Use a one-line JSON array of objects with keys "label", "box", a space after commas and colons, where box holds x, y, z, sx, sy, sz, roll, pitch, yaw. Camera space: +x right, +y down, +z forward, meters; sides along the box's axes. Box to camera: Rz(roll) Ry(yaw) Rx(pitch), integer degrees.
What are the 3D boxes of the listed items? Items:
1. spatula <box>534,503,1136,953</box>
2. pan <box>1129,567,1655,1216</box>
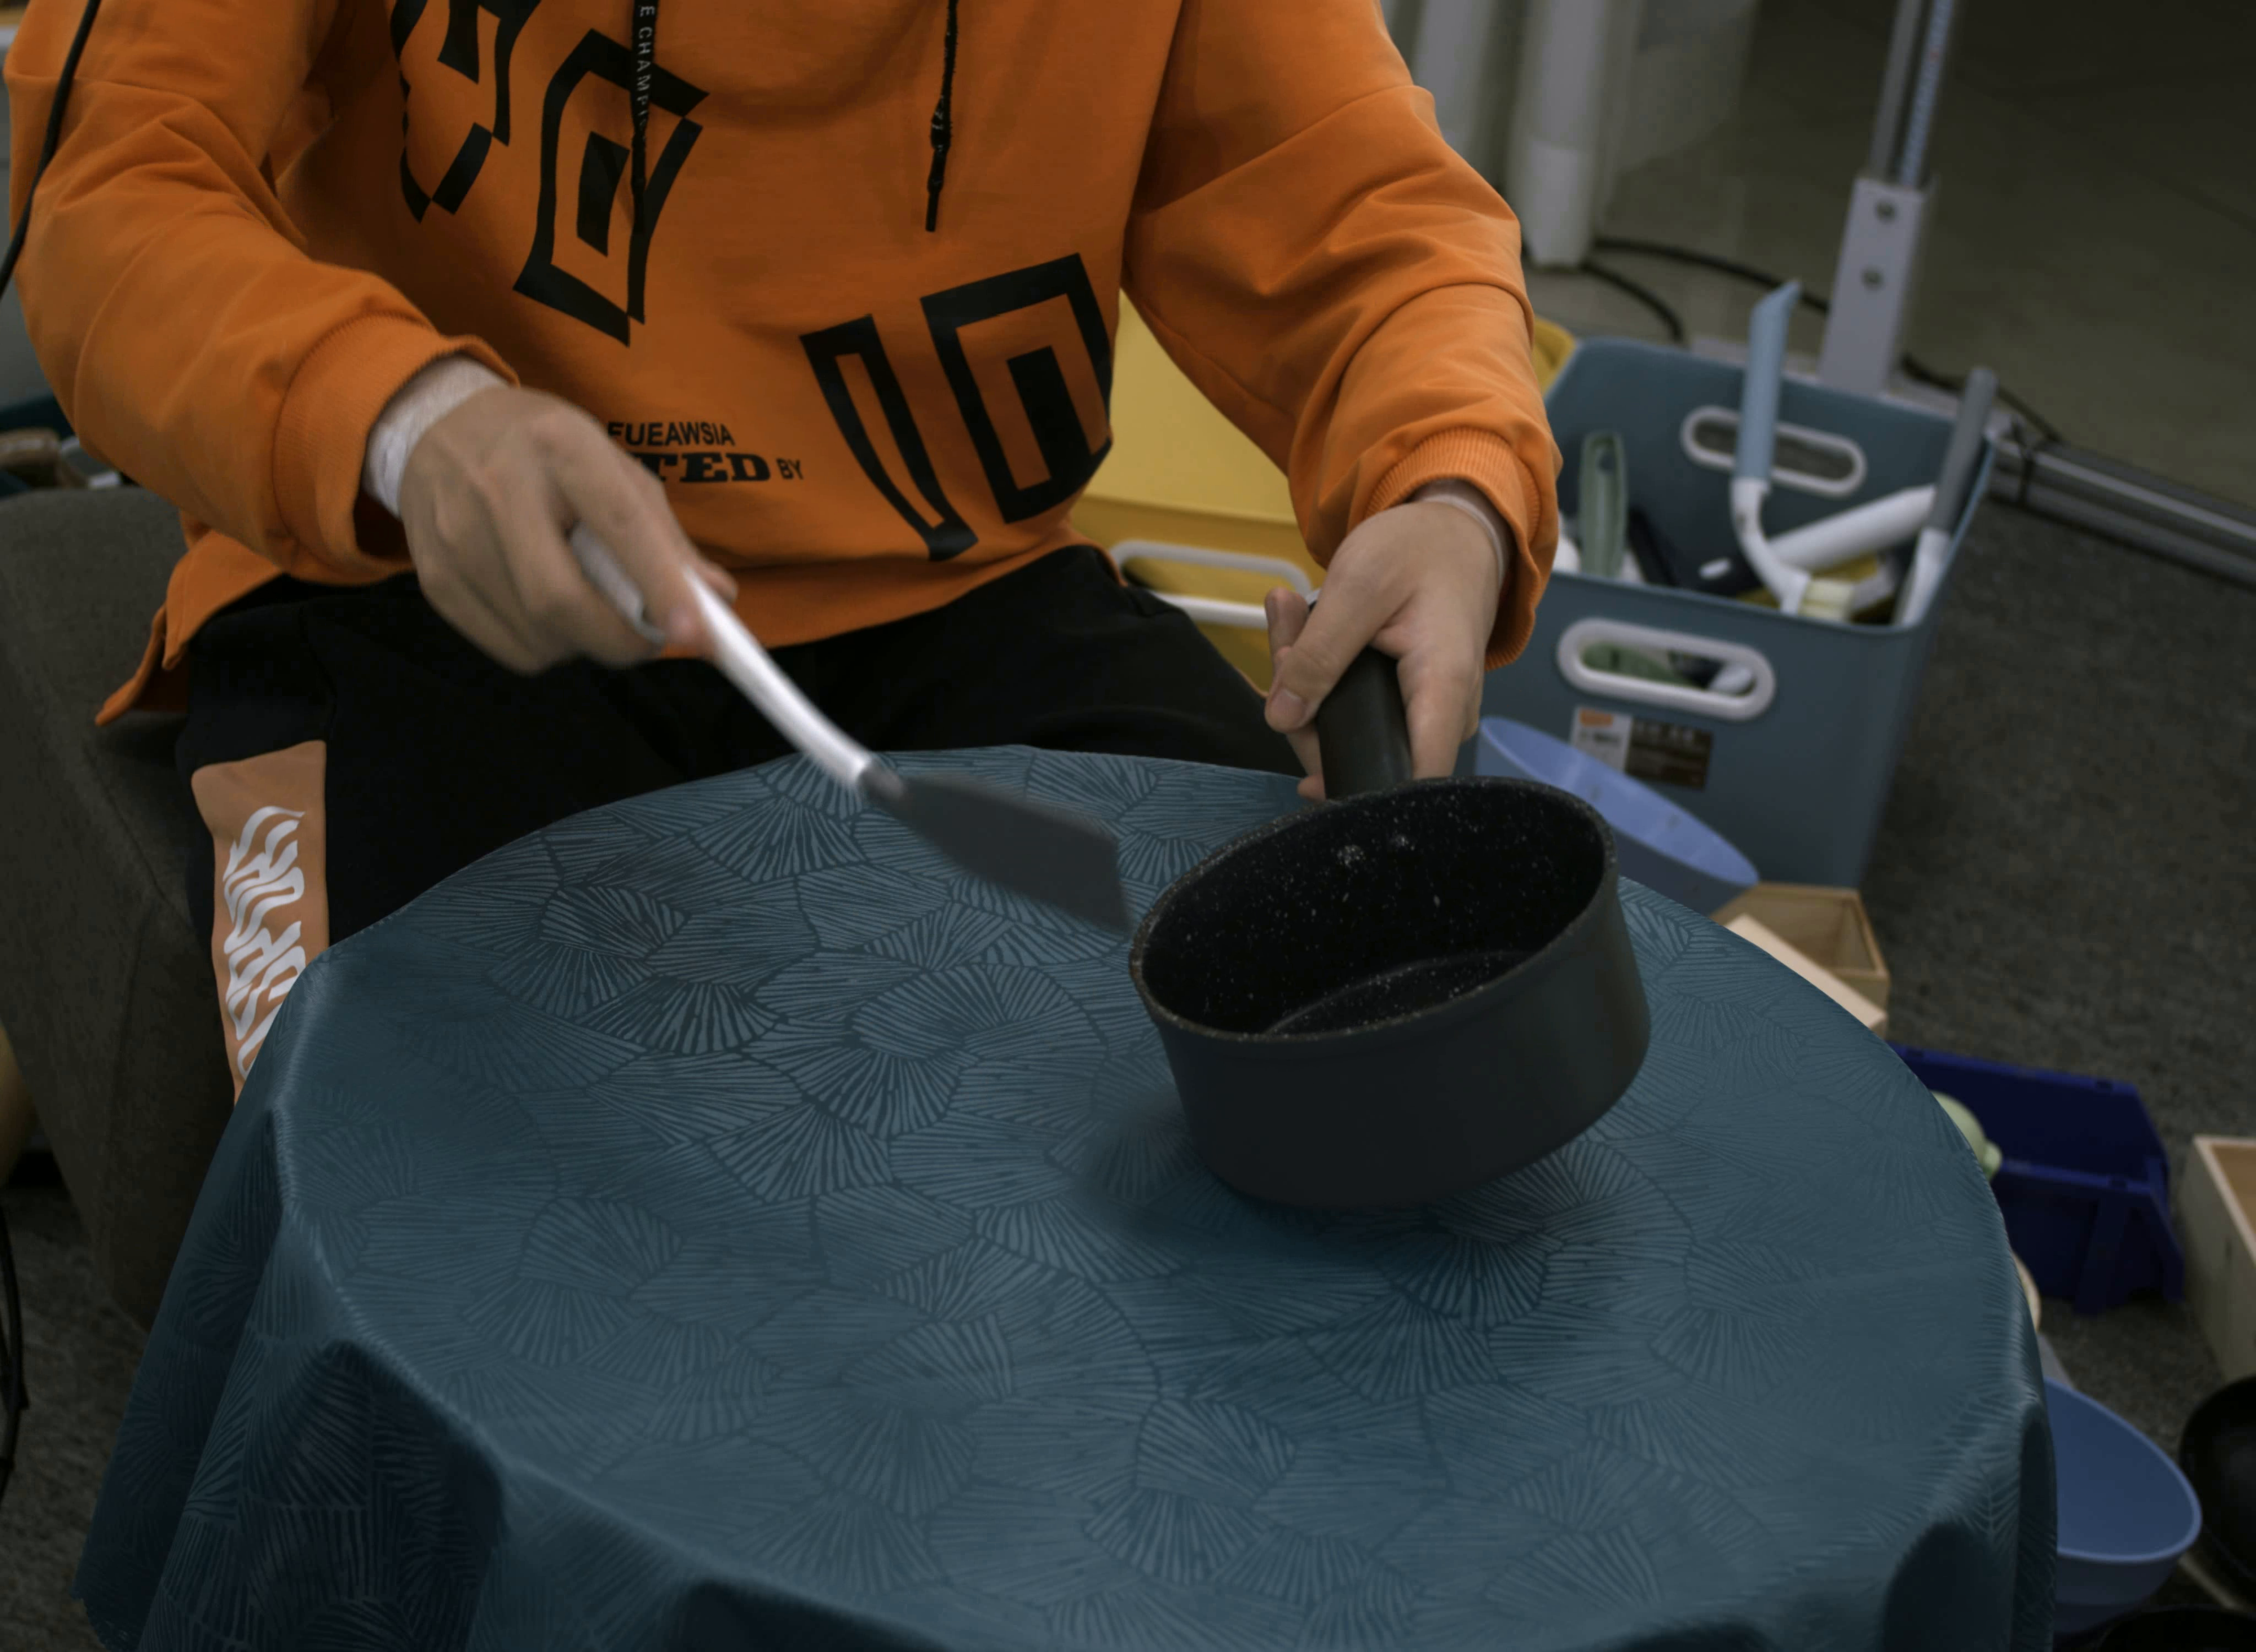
[{"label": "spatula", "box": [-0.100, -0.033, 1.744, 0.032, 0.058, 0.290, -34, 46, -24]}, {"label": "pan", "box": [0.094, 0.018, 1.883, 0.172, 0.086, 0.330, -12, 28, 9]}]
